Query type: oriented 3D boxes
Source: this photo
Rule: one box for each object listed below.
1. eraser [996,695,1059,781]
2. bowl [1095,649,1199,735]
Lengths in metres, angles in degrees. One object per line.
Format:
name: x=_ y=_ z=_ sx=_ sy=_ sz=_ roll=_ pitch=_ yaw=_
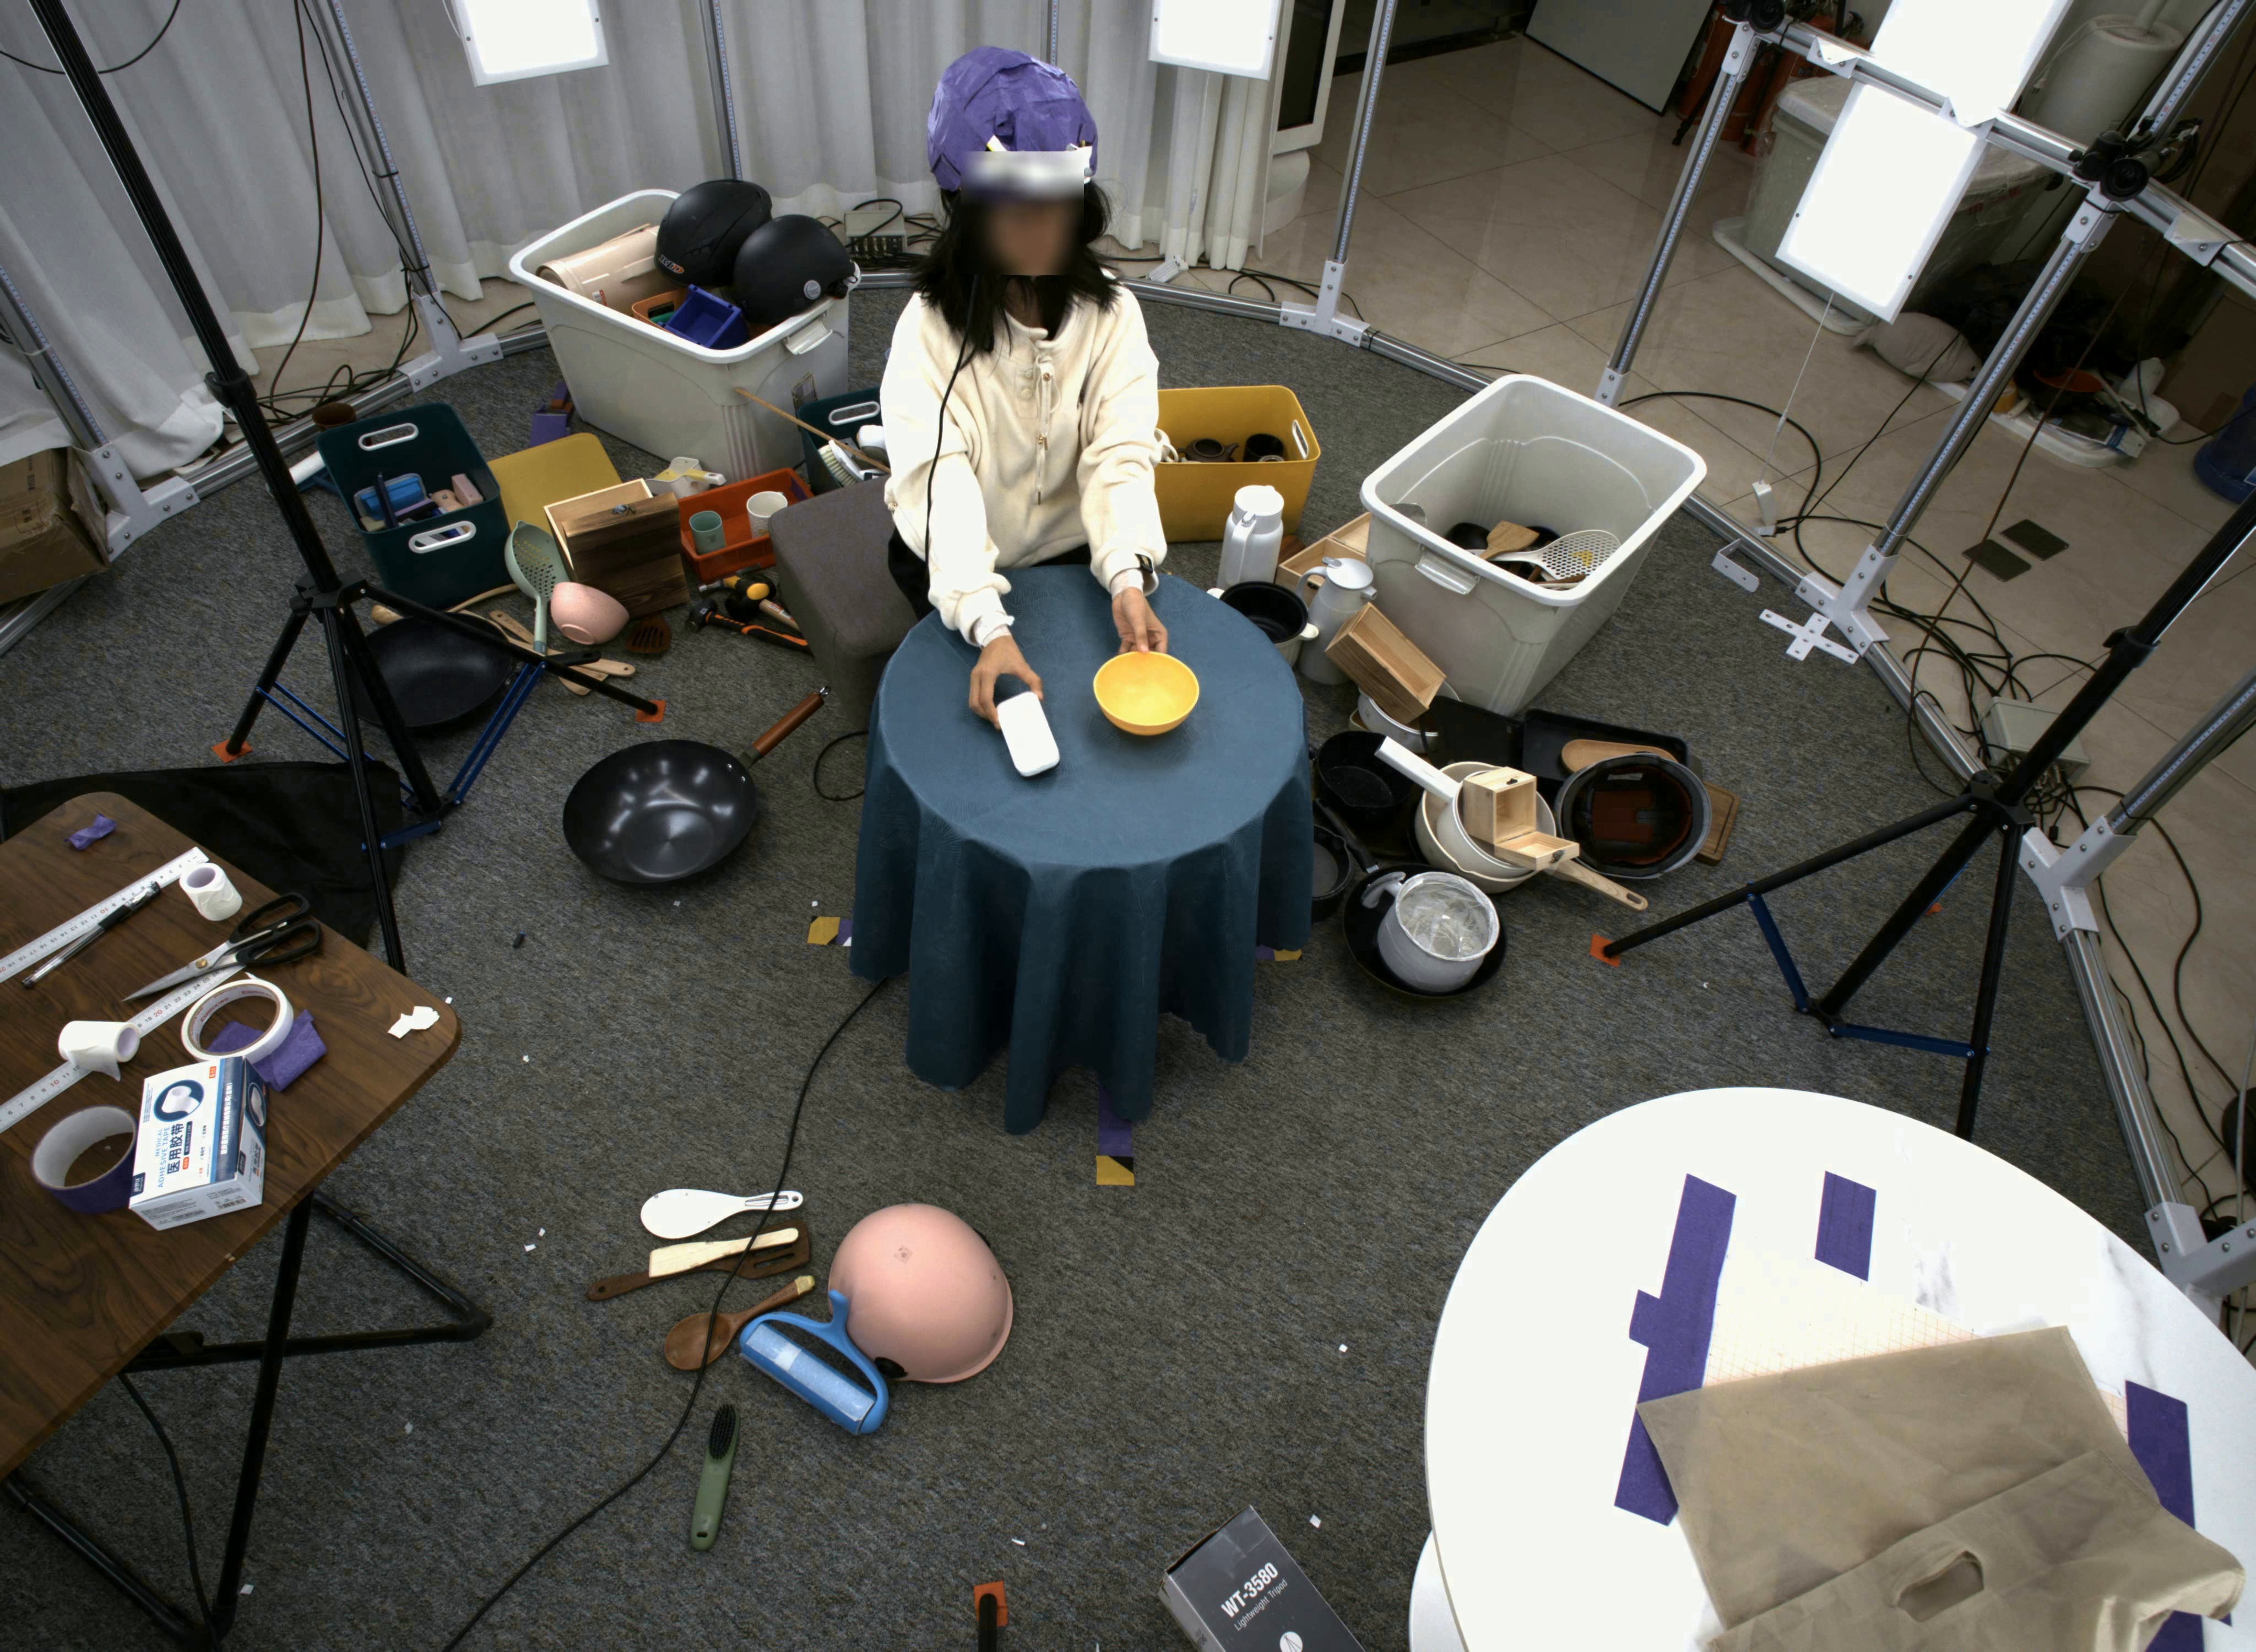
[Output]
eraser: x=-0.135 y=-0.122 z=1.739 sx=0.063 sy=0.034 sz=0.134 roll=-19 pitch=54 yaw=-3
bowl: x=0.025 y=-0.175 z=1.786 sx=0.145 sy=0.058 sz=0.149 roll=1 pitch=51 yaw=-2
